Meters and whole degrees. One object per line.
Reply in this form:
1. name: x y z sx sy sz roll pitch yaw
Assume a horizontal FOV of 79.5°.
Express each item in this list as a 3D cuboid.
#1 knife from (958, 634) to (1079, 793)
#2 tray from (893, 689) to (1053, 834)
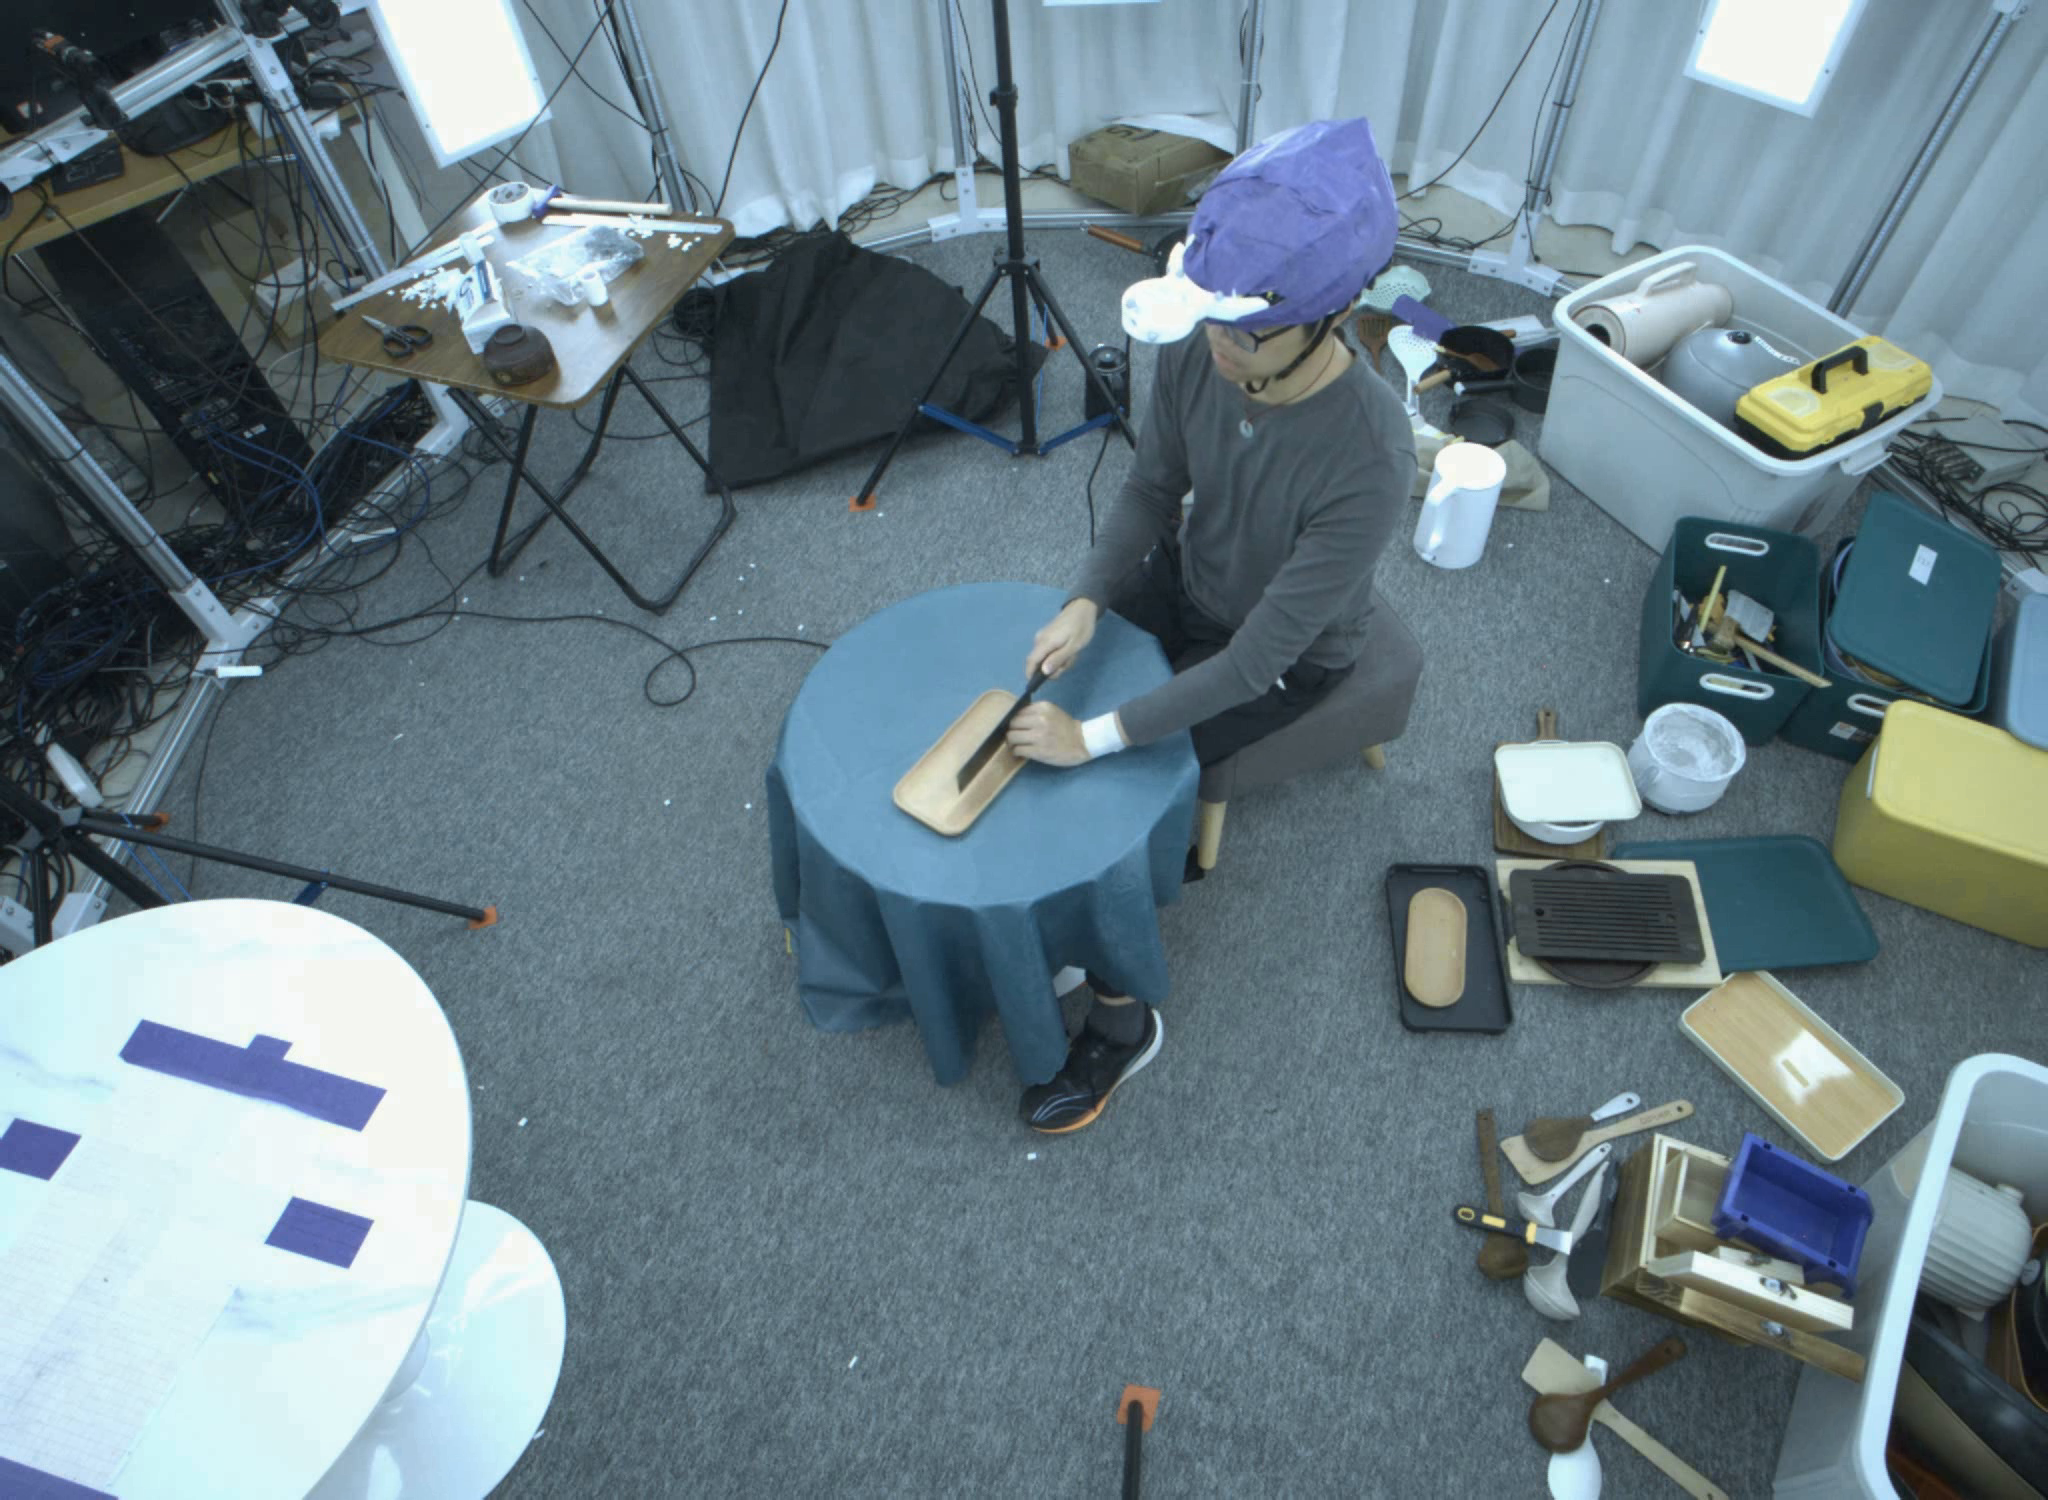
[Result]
1. knife: -0.008 -0.058 1.773 0.020 0.081 0.303 31 65 15
2. tray: -0.071 0.014 1.777 0.128 0.023 0.252 32 60 19
